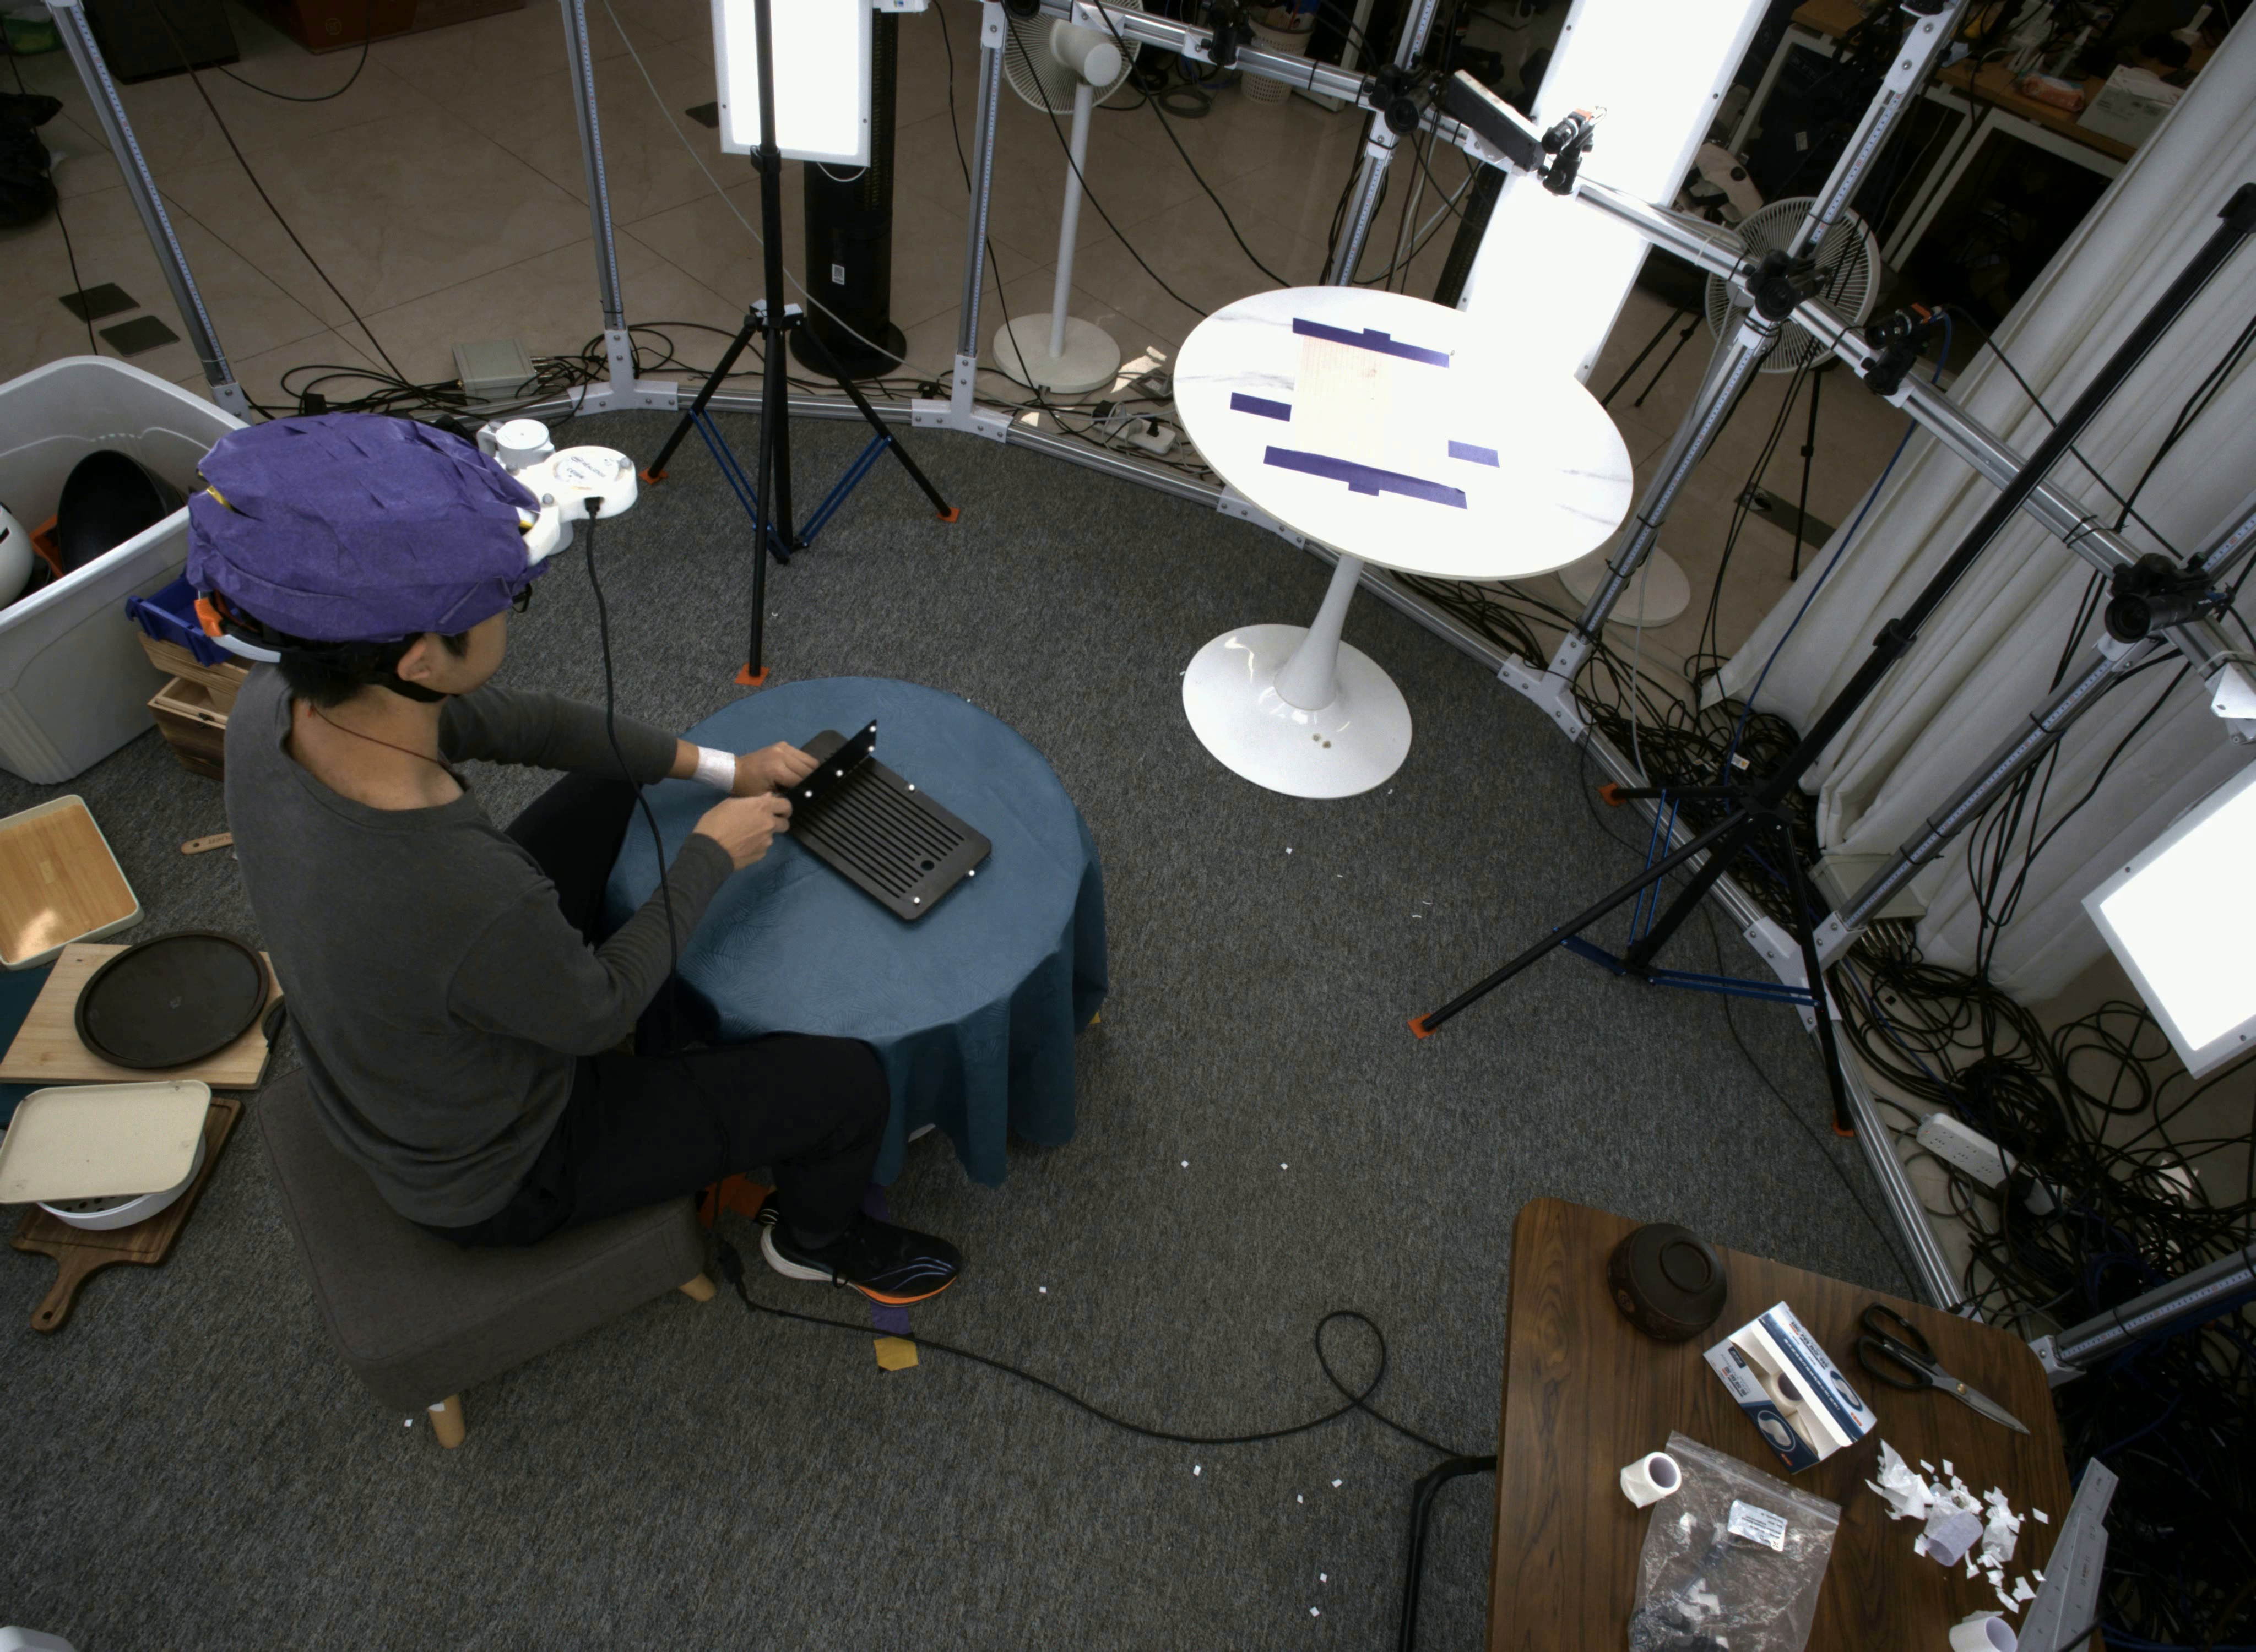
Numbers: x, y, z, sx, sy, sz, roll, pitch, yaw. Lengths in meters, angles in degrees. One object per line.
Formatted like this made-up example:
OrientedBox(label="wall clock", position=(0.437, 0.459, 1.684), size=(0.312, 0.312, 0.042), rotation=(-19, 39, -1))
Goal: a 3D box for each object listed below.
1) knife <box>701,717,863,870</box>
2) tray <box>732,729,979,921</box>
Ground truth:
OrientedBox(label="knife", position=(-0.444, -0.041, 1.688), size=(0.020, 0.083, 0.302), rotation=(30, 48, 15))
OrientedBox(label="tray", position=(-0.365, -0.005, 1.742), size=(0.300, 0.019, 0.170), rotation=(34, 54, 12))
